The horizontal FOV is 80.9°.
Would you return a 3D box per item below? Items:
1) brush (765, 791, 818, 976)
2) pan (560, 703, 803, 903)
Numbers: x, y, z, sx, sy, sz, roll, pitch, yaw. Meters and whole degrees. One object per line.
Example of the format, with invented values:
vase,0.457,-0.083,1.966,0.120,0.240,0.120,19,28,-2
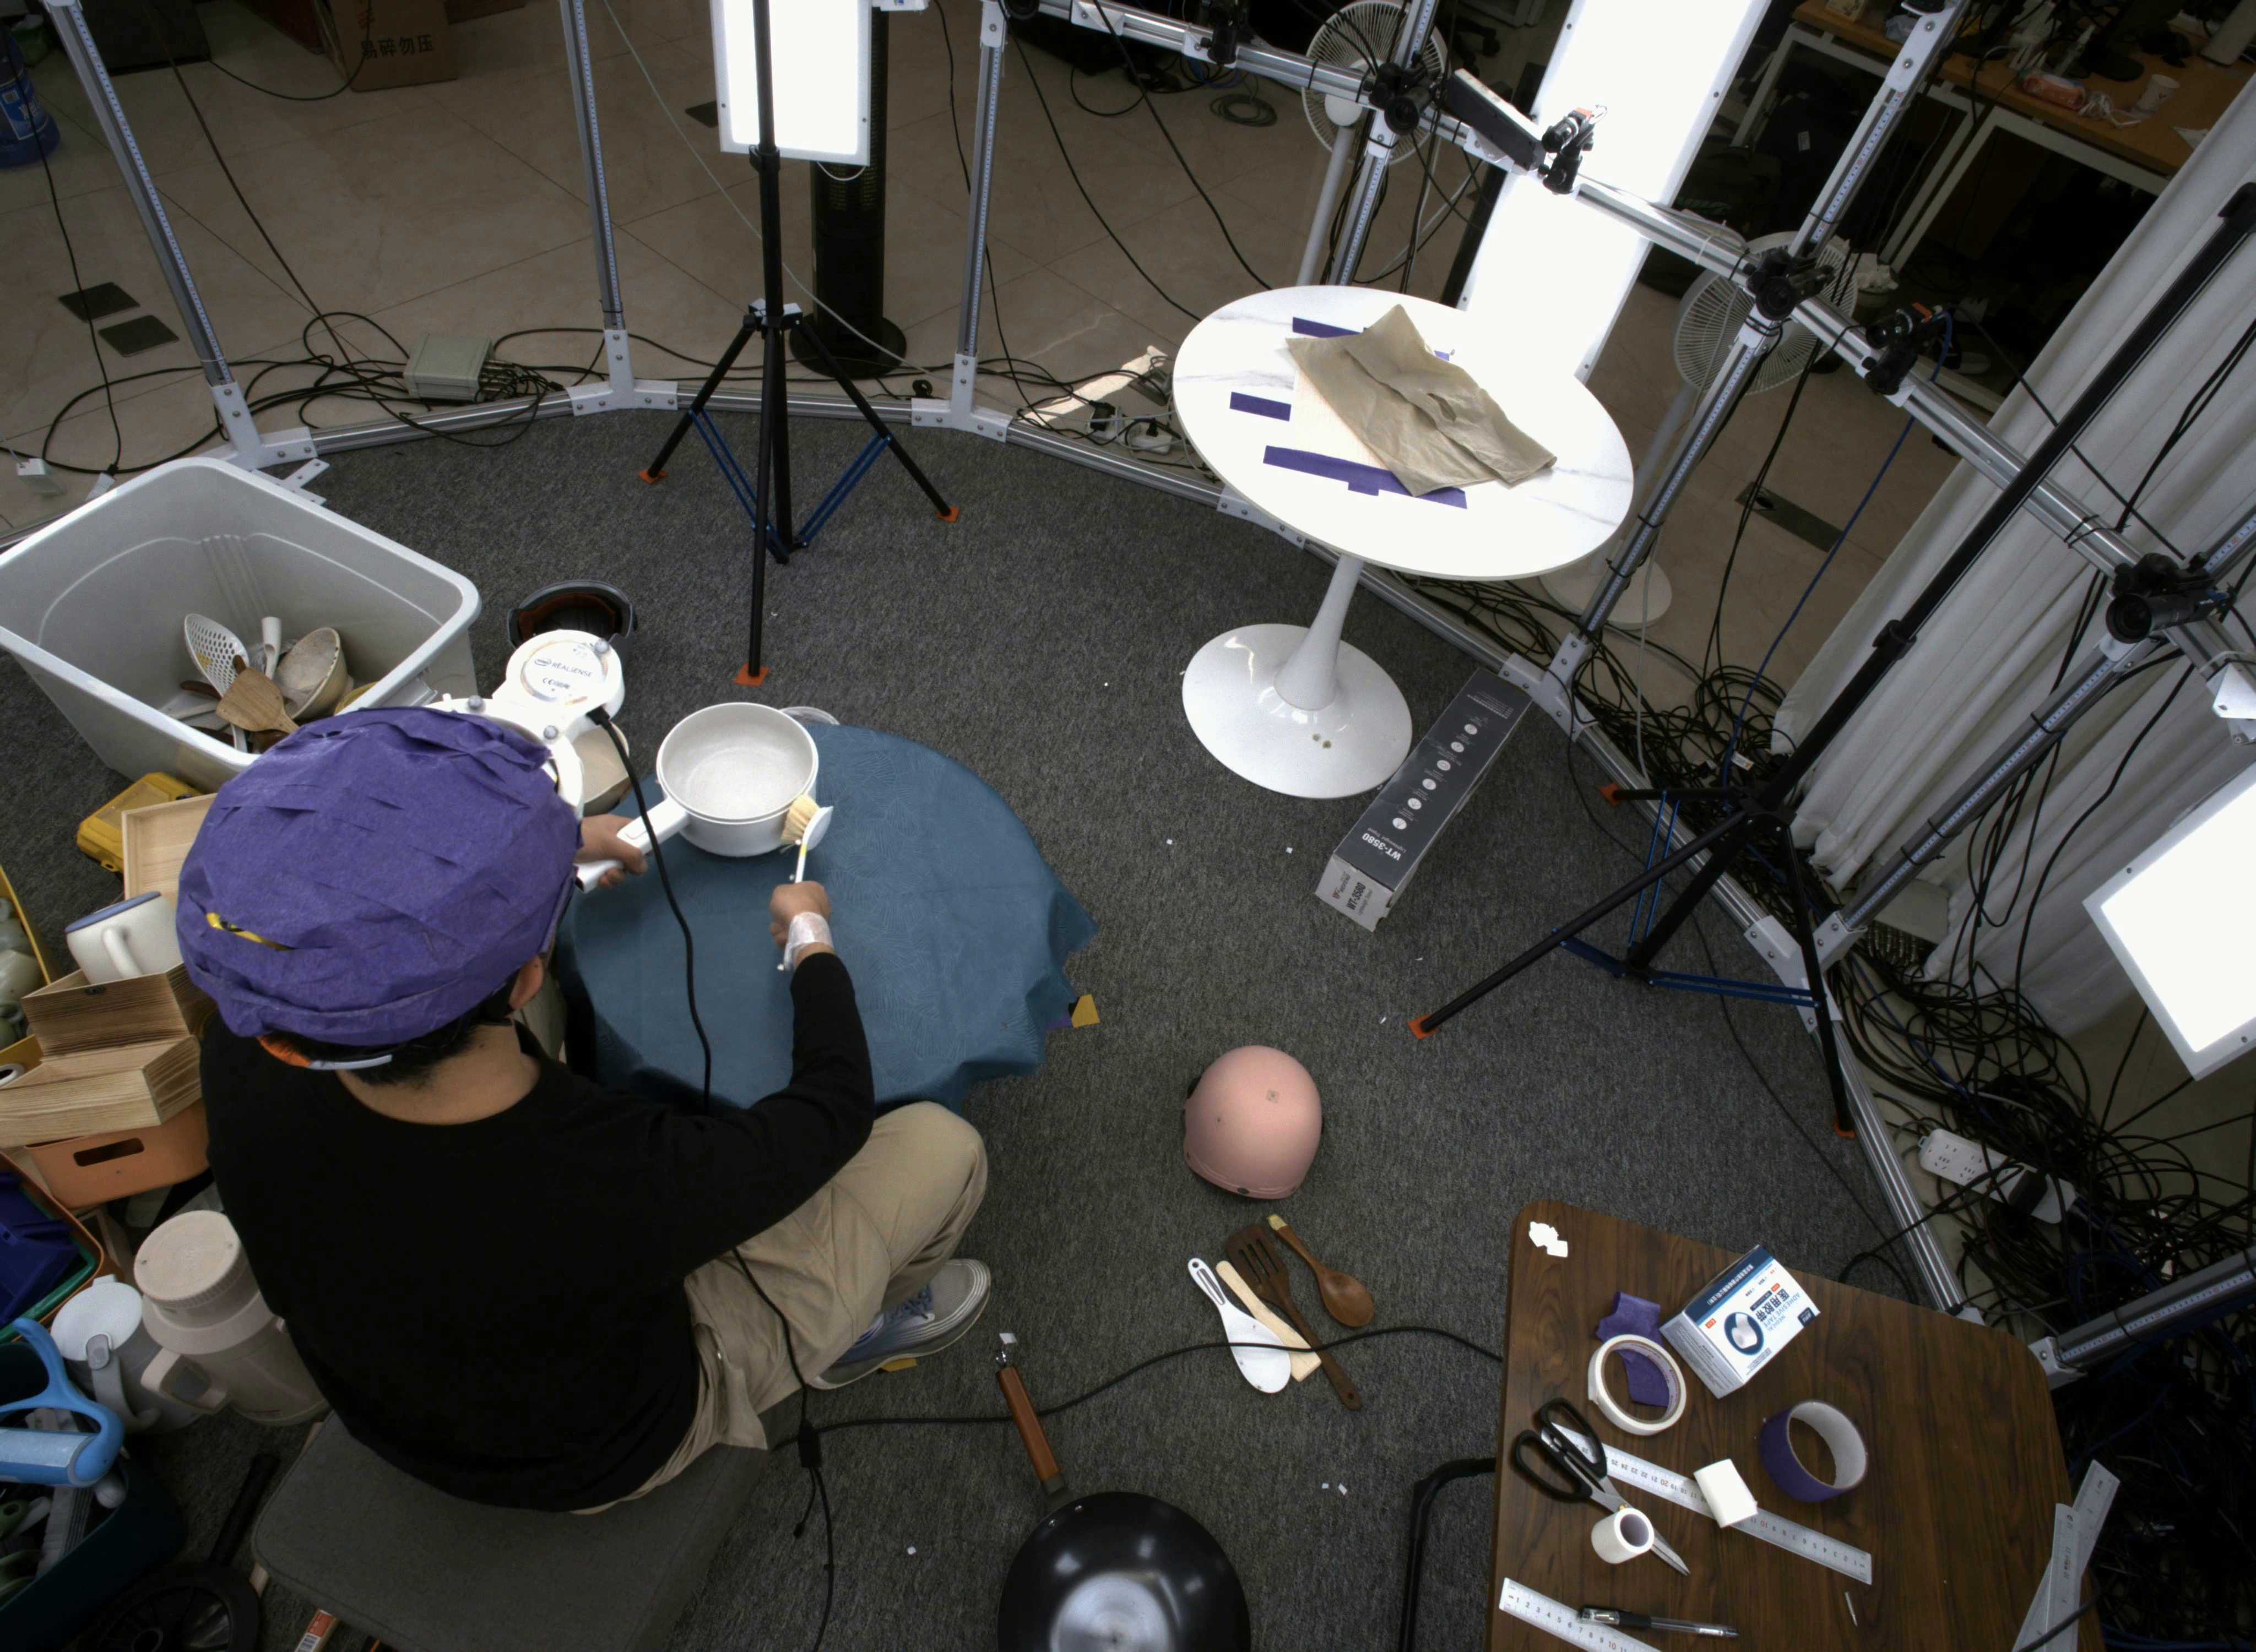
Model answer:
brush,-0.421,0.063,1.555,0.056,0.070,0.261,9,48,-10
pan,-0.568,-0.008,1.627,0.198,0.104,0.354,37,55,12
